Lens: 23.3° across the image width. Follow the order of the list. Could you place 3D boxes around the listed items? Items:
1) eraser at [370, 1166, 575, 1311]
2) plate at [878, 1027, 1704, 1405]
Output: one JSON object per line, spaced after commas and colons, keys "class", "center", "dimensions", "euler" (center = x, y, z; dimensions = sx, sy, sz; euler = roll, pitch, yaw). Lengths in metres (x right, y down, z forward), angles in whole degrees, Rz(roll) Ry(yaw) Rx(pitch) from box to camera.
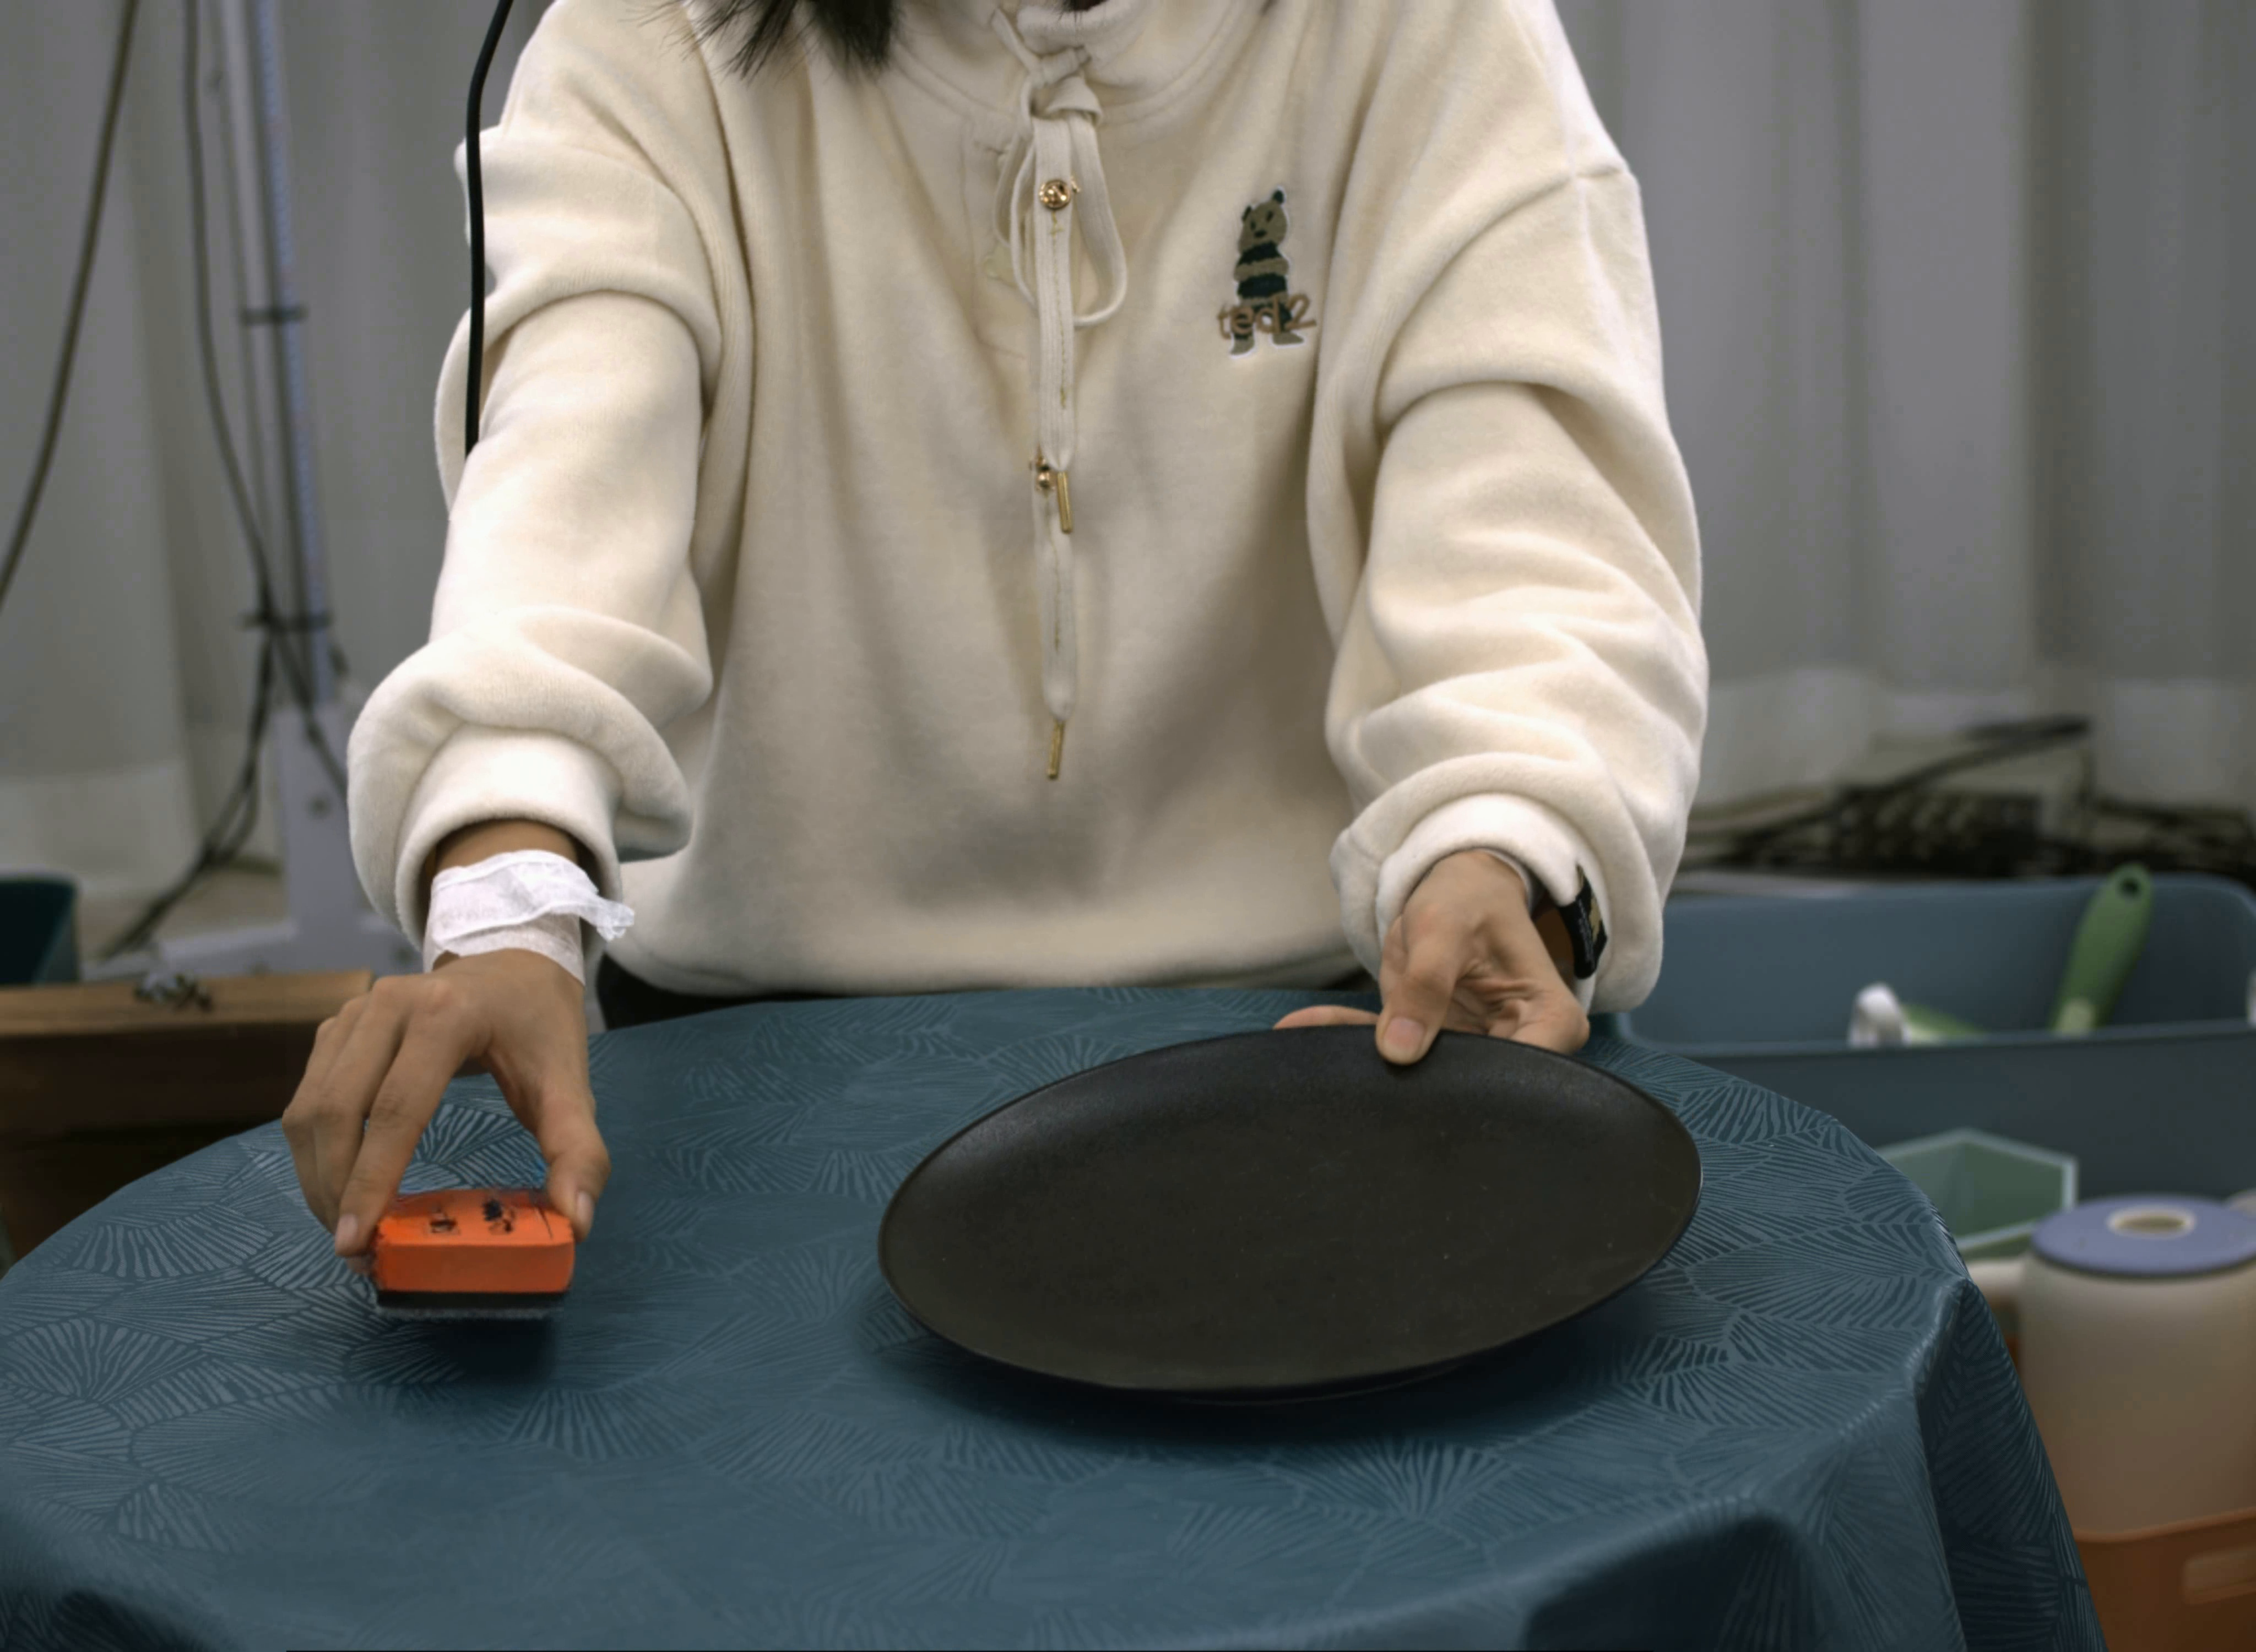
{"class": "eraser", "center": [-0.194, 0.121, 1.616], "dimensions": [0.059, 0.023, 0.108], "euler": [0, 8, -8]}
{"class": "plate", "center": [0.048, 0.117, 1.605], "dimensions": [0.243, 0.023, 0.247], "euler": [-6, 21, 2]}
